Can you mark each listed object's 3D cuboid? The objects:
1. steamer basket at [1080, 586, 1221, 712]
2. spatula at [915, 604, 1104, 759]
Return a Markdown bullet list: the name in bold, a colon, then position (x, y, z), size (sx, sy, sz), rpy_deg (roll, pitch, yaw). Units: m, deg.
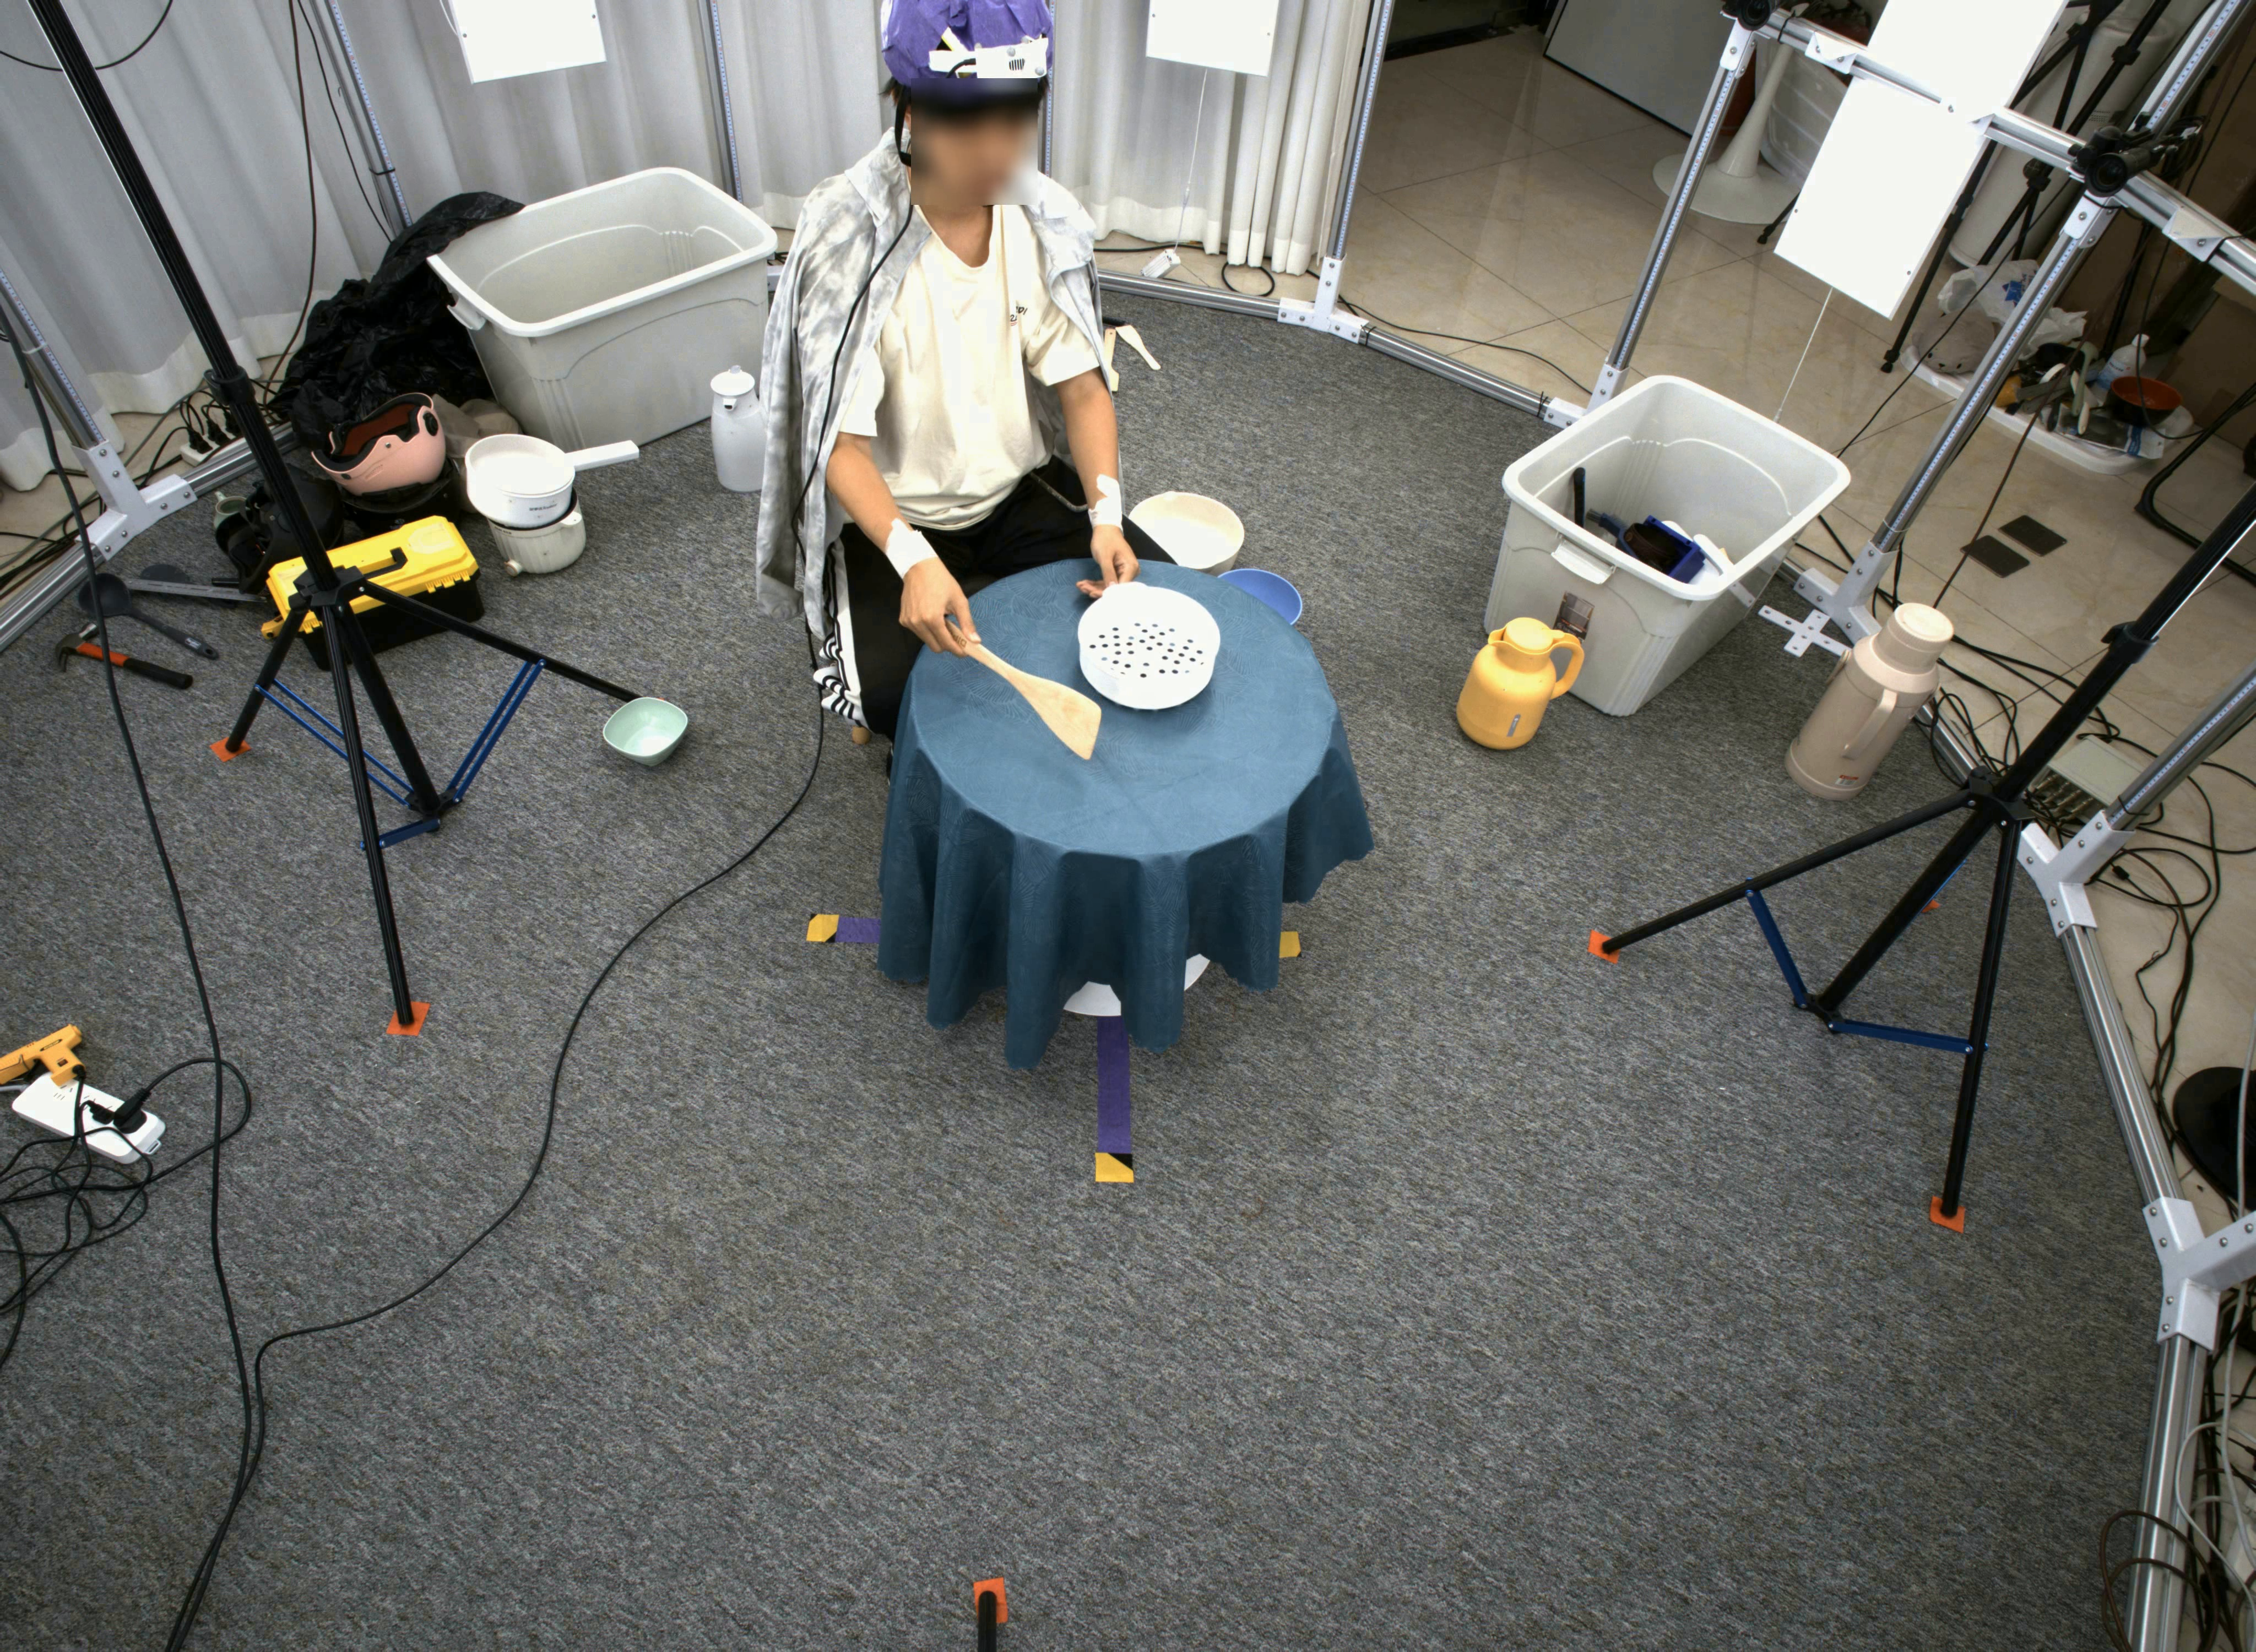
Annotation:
- **steamer basket**: position (0.030, -0.250, 1.838), size (0.202, 0.067, 0.236), rpy_deg (-12, 50, -16)
- **spatula**: position (-0.162, -0.208, 1.724), size (0.330, 0.078, 0.016), rpy_deg (35, 32, 16)
